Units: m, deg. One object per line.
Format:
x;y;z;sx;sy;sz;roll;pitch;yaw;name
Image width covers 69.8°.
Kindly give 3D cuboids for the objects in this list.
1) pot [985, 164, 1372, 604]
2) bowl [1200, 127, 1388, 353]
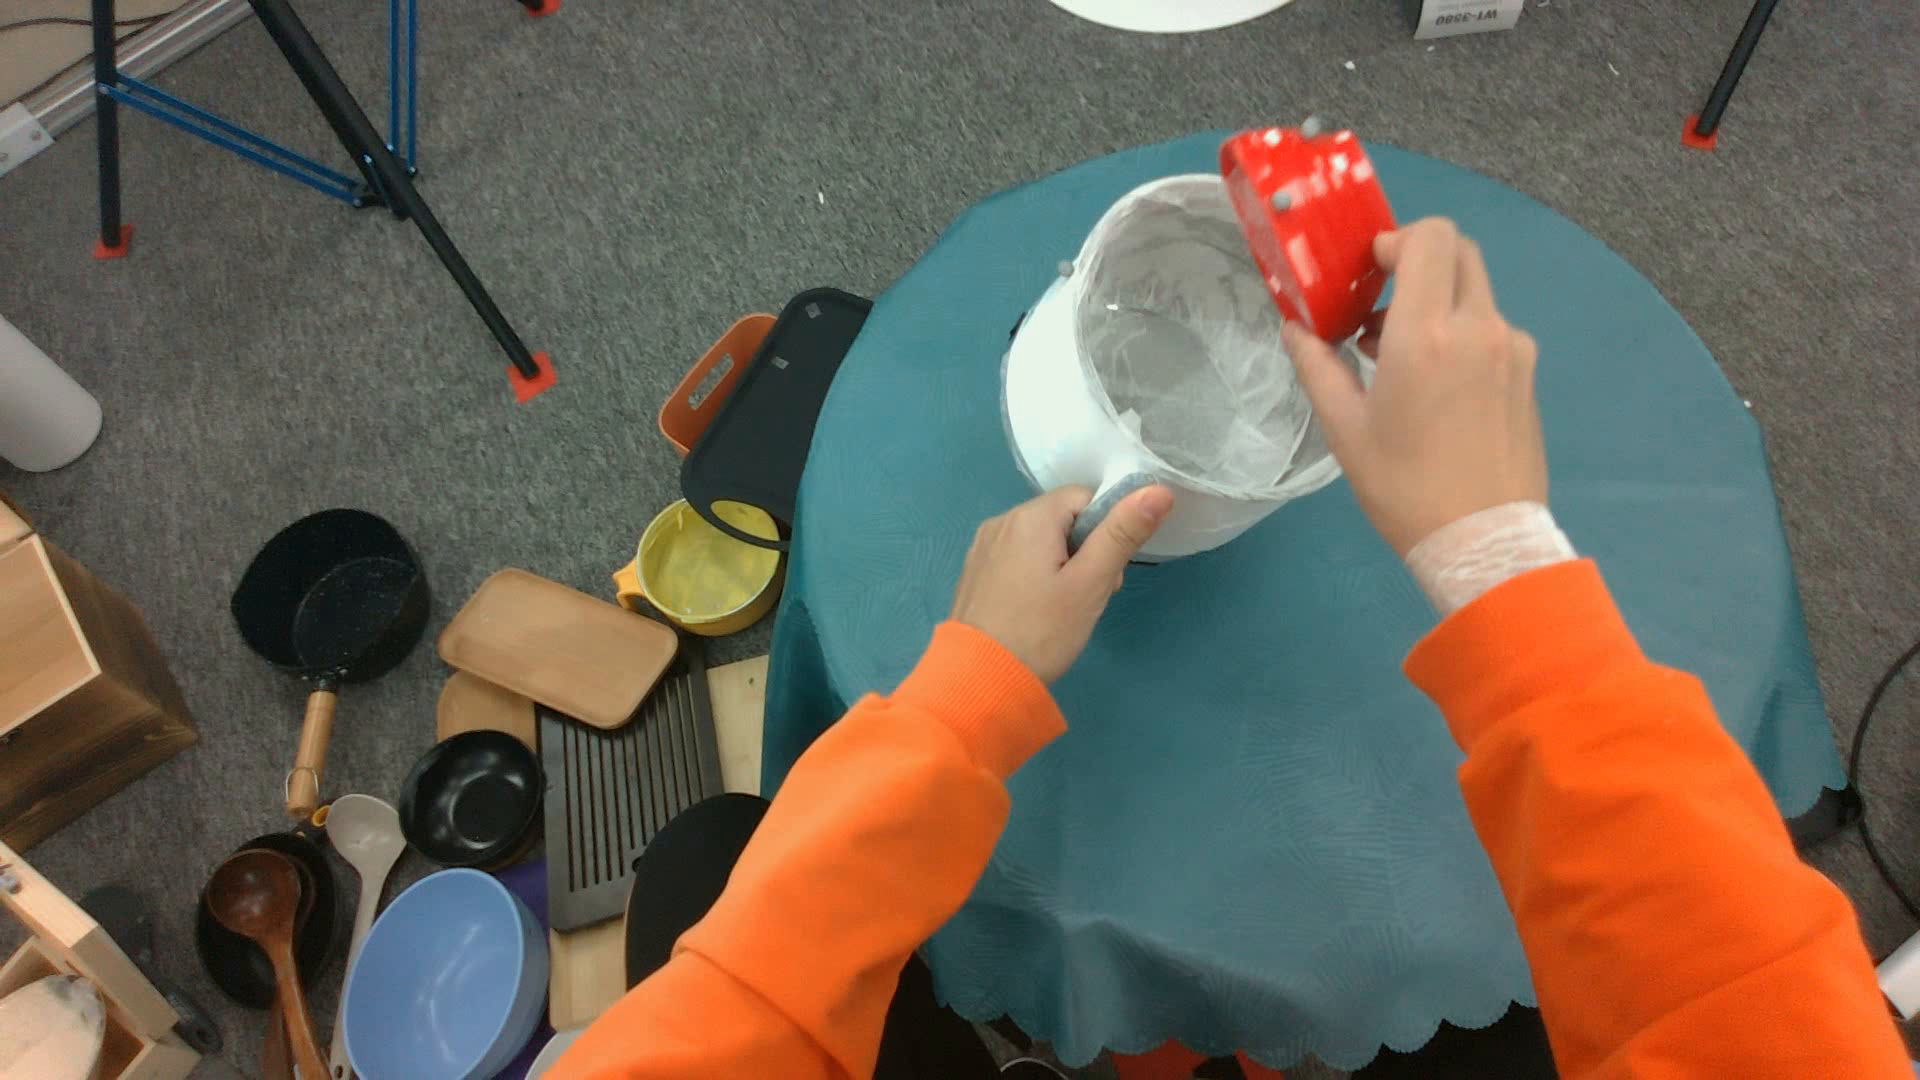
0.099;-0.072;0.740;0.178;0.136;0.234;34;66;-6;pot
0.160;-0.147;0.643;0.051;0.119;0.119;-27;61;8;bowl
